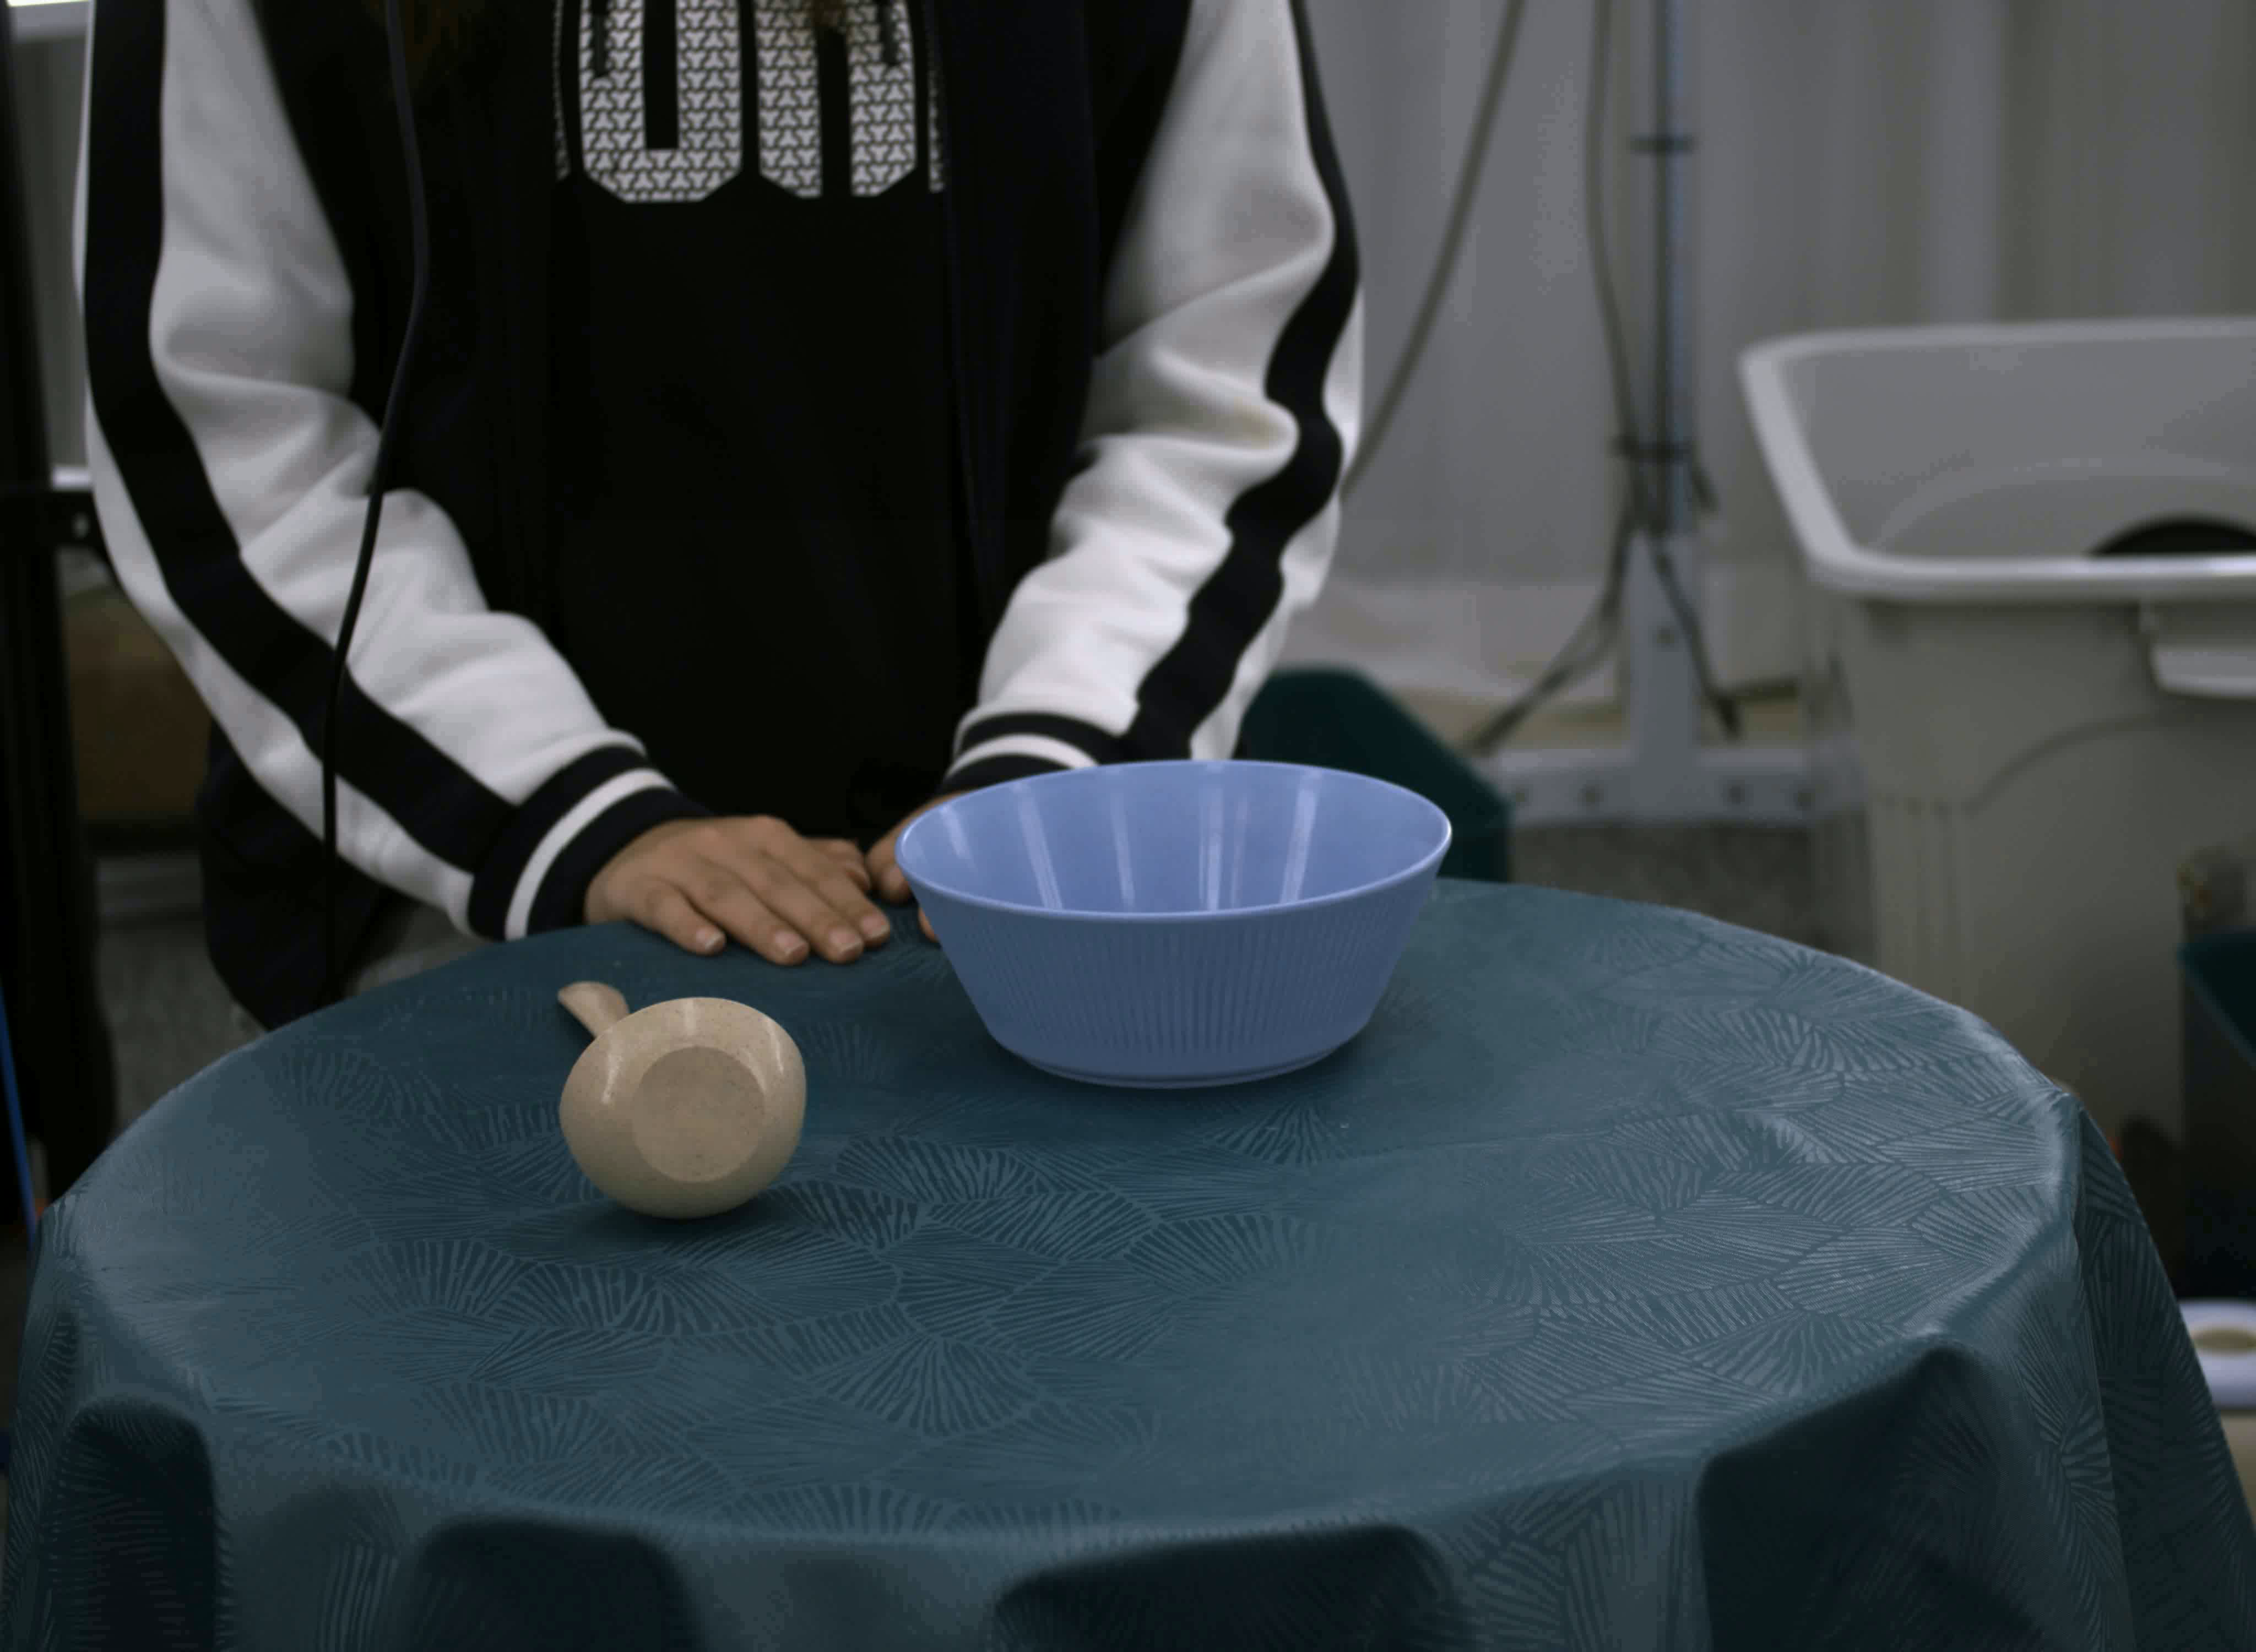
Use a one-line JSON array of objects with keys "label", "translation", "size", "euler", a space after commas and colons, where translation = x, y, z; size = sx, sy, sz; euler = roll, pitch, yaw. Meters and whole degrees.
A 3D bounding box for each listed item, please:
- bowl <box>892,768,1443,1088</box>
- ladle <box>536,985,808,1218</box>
[{"label": "bowl", "translation": [0.013, 0.034, 1.688], "size": [0.175, 0.070, 0.177], "euler": [-2, 16, -1]}, {"label": "ladle", "translation": [-0.155, 0.054, 1.640], "size": [0.071, 0.073, 0.258], "euler": [-6, 16, -14]}]
